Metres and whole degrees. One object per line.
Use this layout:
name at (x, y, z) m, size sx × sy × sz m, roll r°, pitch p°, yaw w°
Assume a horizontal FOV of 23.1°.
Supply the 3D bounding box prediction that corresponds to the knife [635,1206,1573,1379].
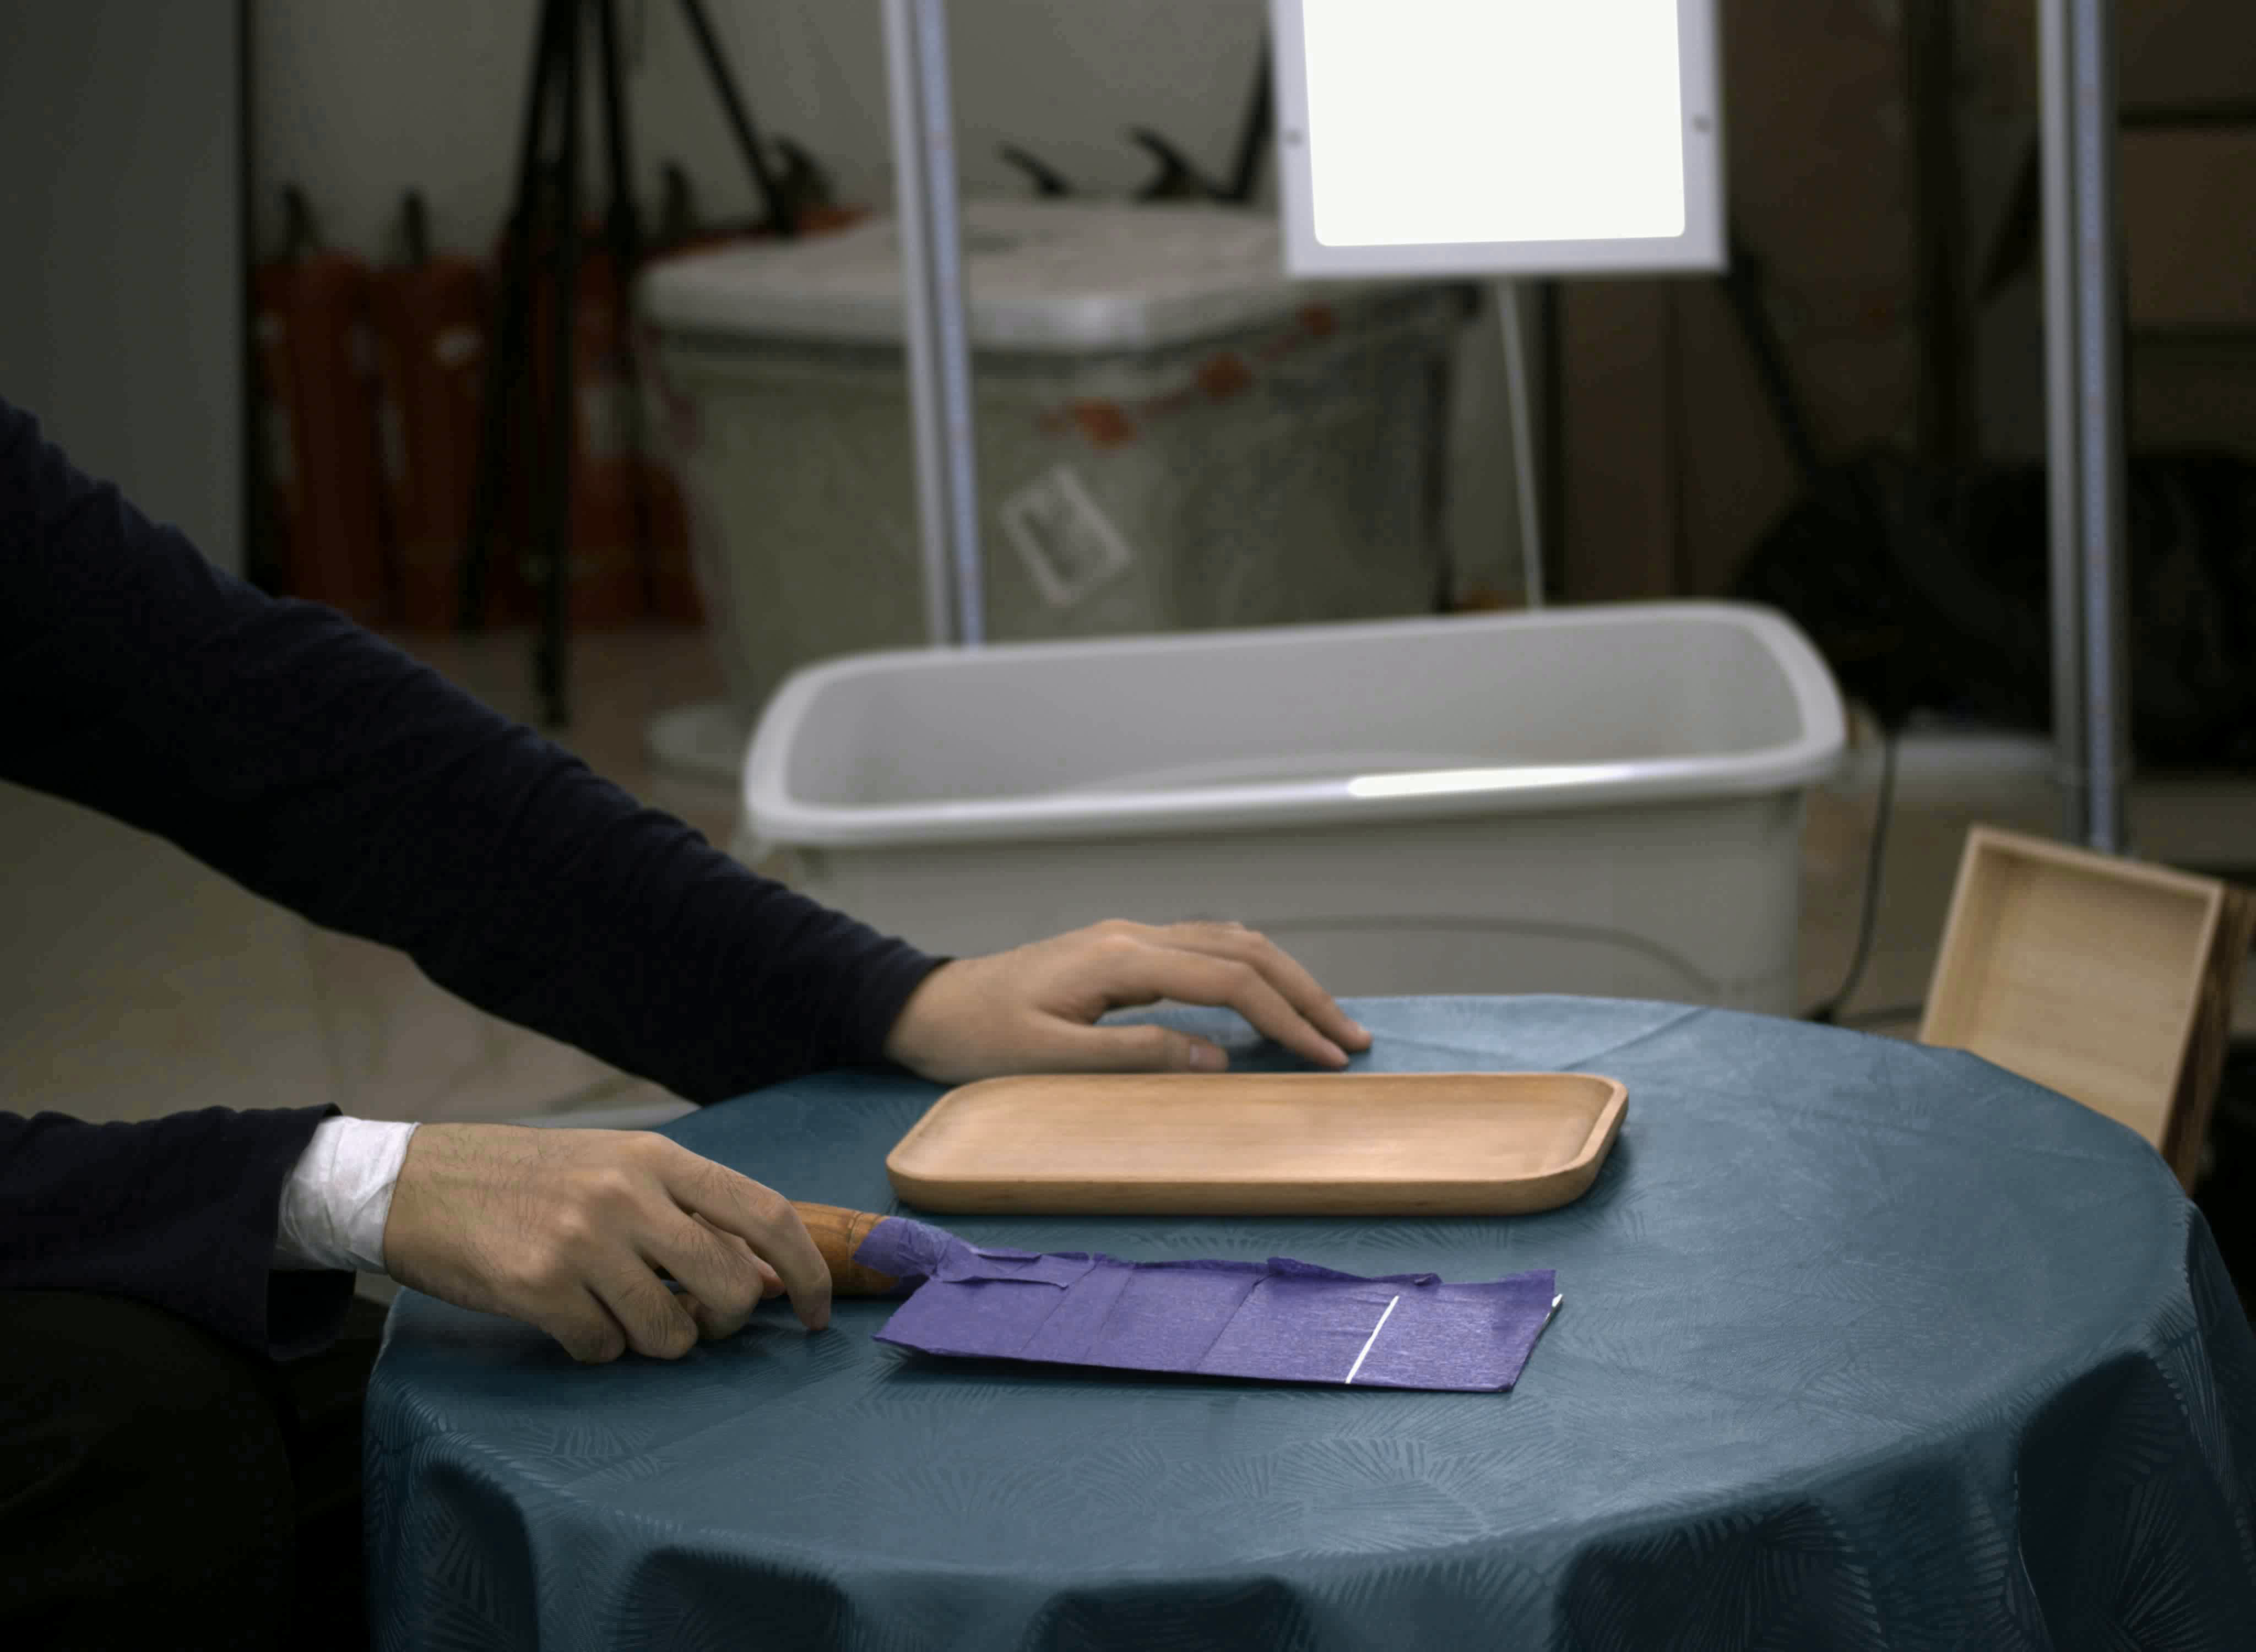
knife at (-0.019, 0.149, 1.761) m, size 0.319 × 0.032 × 0.102 m, roll 0°, pitch 14°, yaw 19°

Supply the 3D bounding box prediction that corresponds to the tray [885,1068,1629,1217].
tray at (0.046, 0.110, 1.921) m, size 0.254 × 0.023 × 0.128 m, roll -1°, pitch 12°, yaw 19°
